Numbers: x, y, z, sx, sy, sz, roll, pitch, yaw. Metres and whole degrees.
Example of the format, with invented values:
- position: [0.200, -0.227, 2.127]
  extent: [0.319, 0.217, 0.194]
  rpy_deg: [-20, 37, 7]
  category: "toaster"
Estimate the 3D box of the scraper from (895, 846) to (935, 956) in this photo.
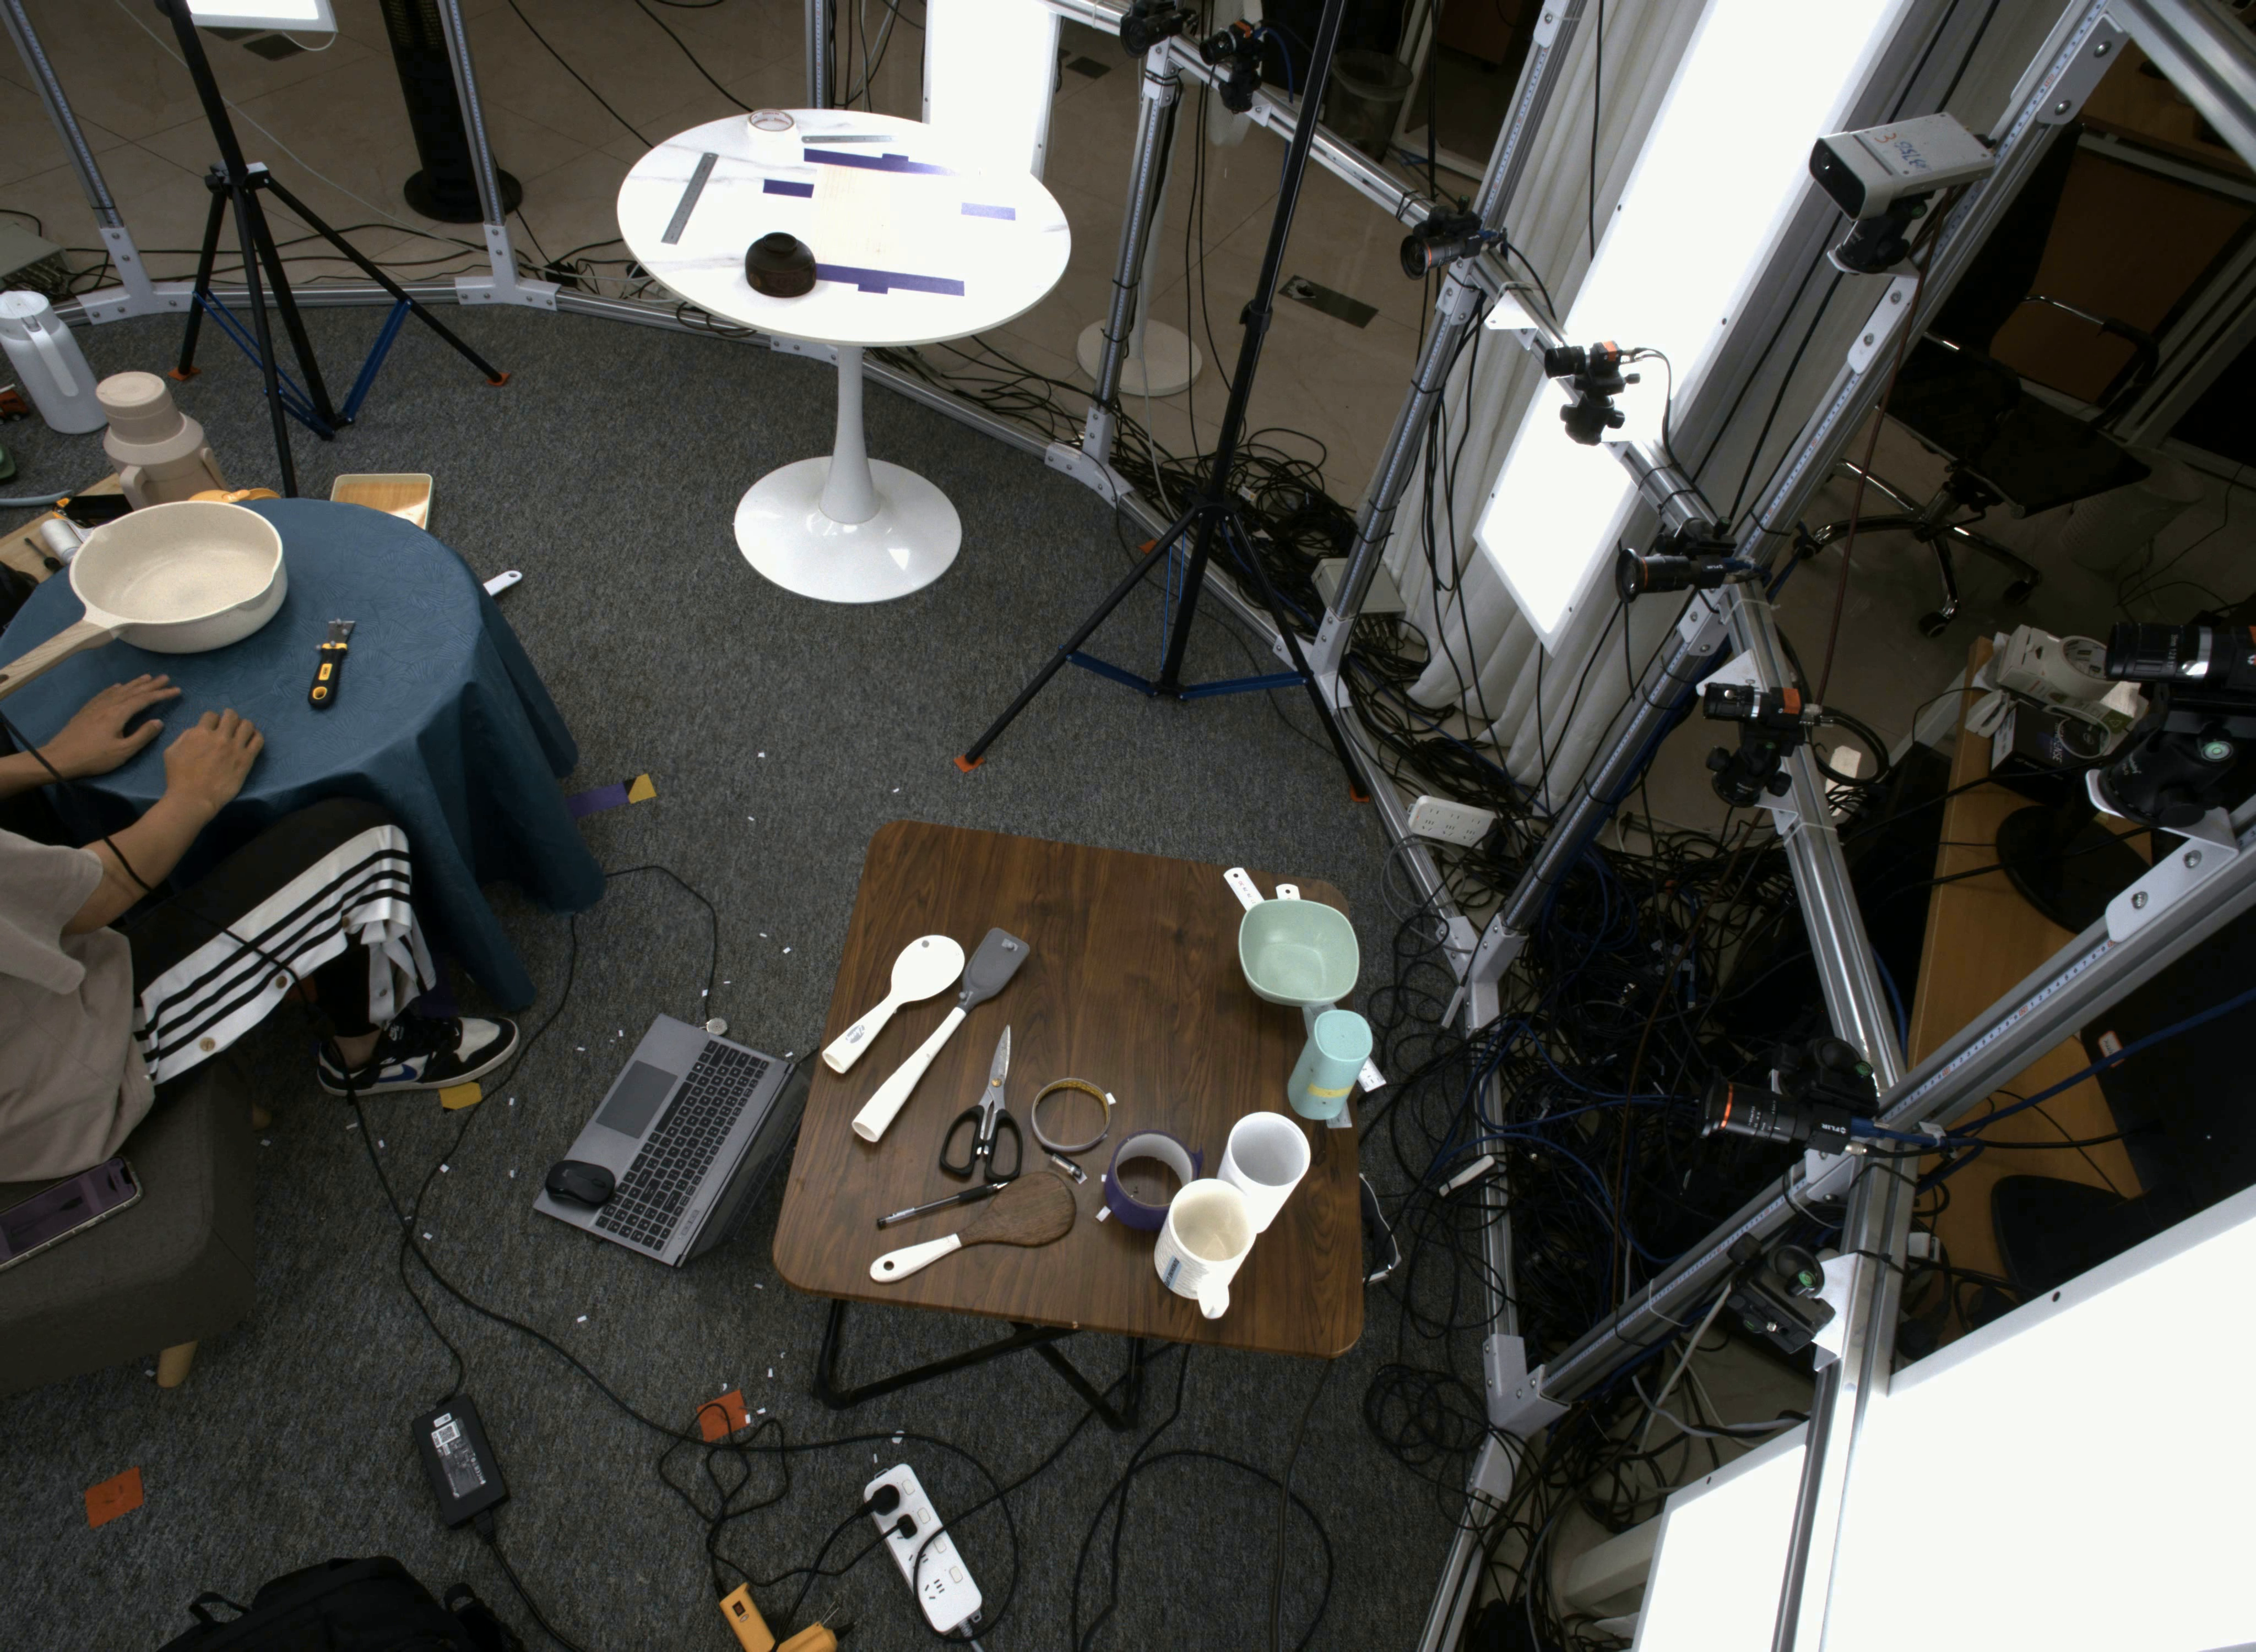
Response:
- position: [-0.278, 0.094, 1.689]
  extent: [0.039, 0.015, 0.168]
  rpy_deg: [11, 50, -11]
  category: "scraper"

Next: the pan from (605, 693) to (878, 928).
- position: [-0.505, -0.002, 1.657]
  extent: [0.259, 0.104, 0.434]
  rpy_deg: [33, 54, 9]
  category: "pan"
